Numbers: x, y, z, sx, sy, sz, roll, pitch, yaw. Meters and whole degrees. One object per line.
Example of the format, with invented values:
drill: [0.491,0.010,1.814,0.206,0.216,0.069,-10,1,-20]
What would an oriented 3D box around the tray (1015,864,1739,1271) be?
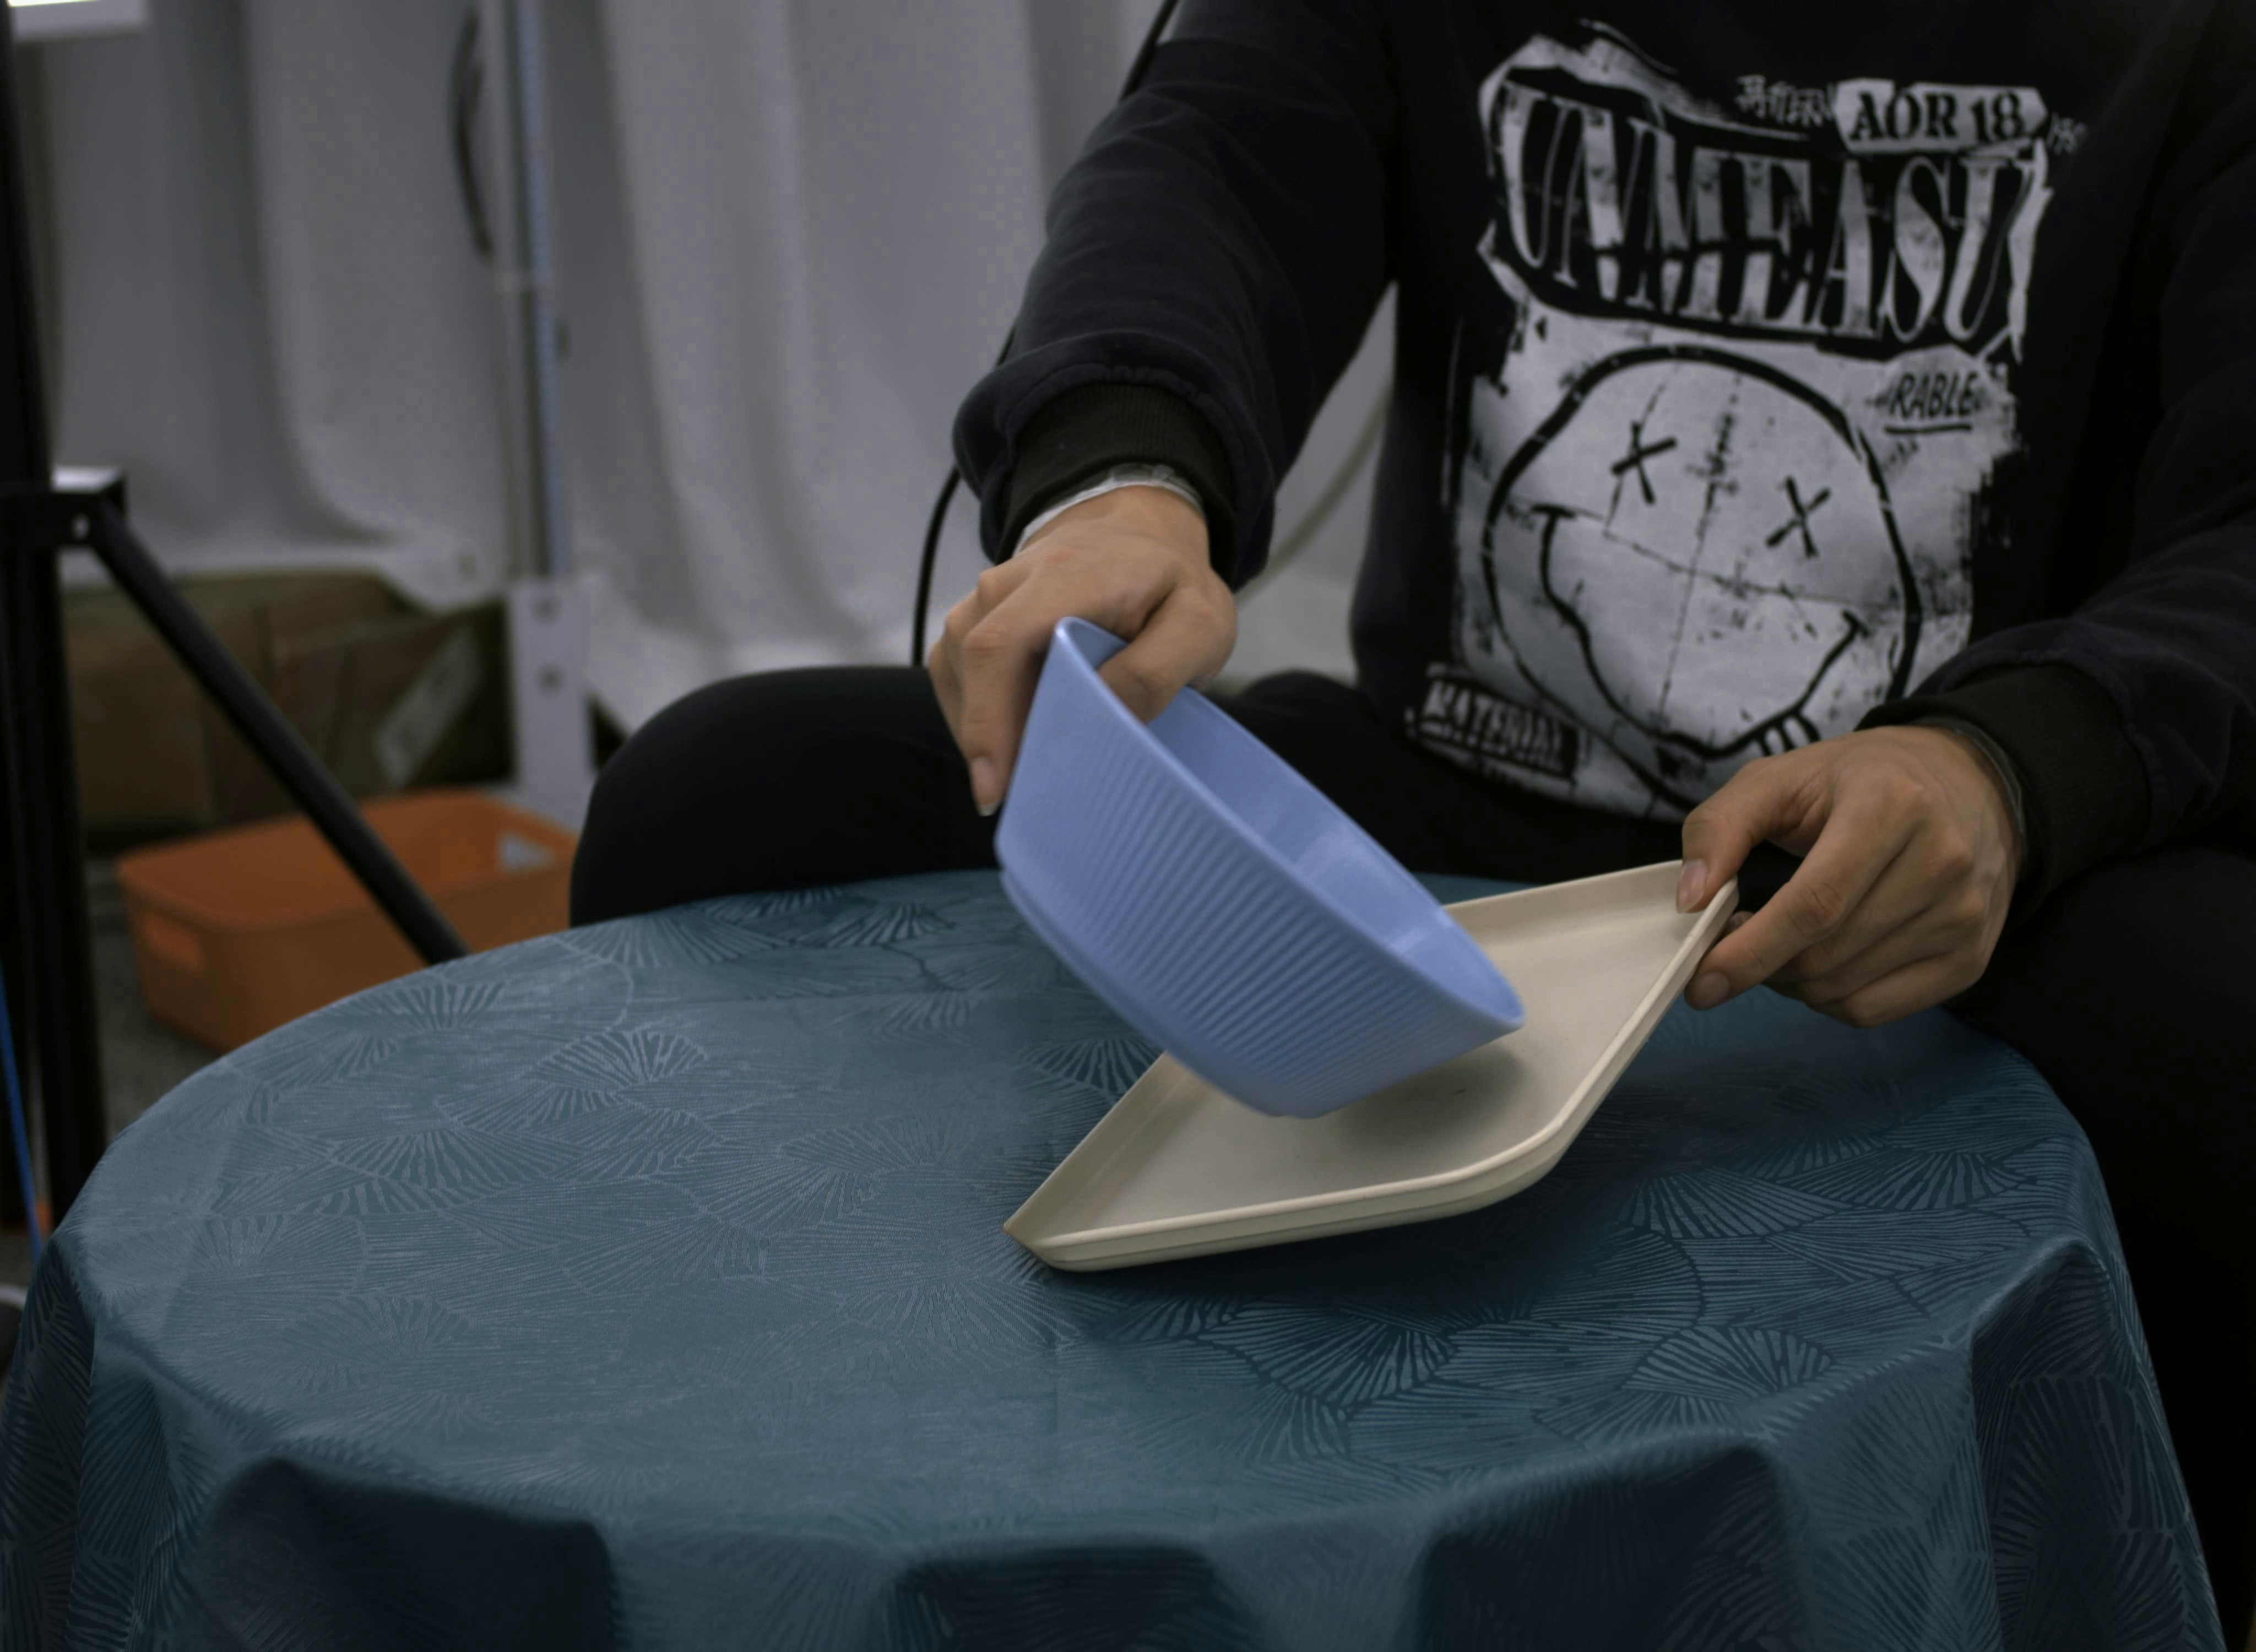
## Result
tray: [0.078,0.071,1.553,0.174,0.017,0.237,-11,16,27]

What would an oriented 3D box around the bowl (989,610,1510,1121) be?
bowl: [0.024,0.022,1.517,0.174,0.070,0.177,40,9,-10]
